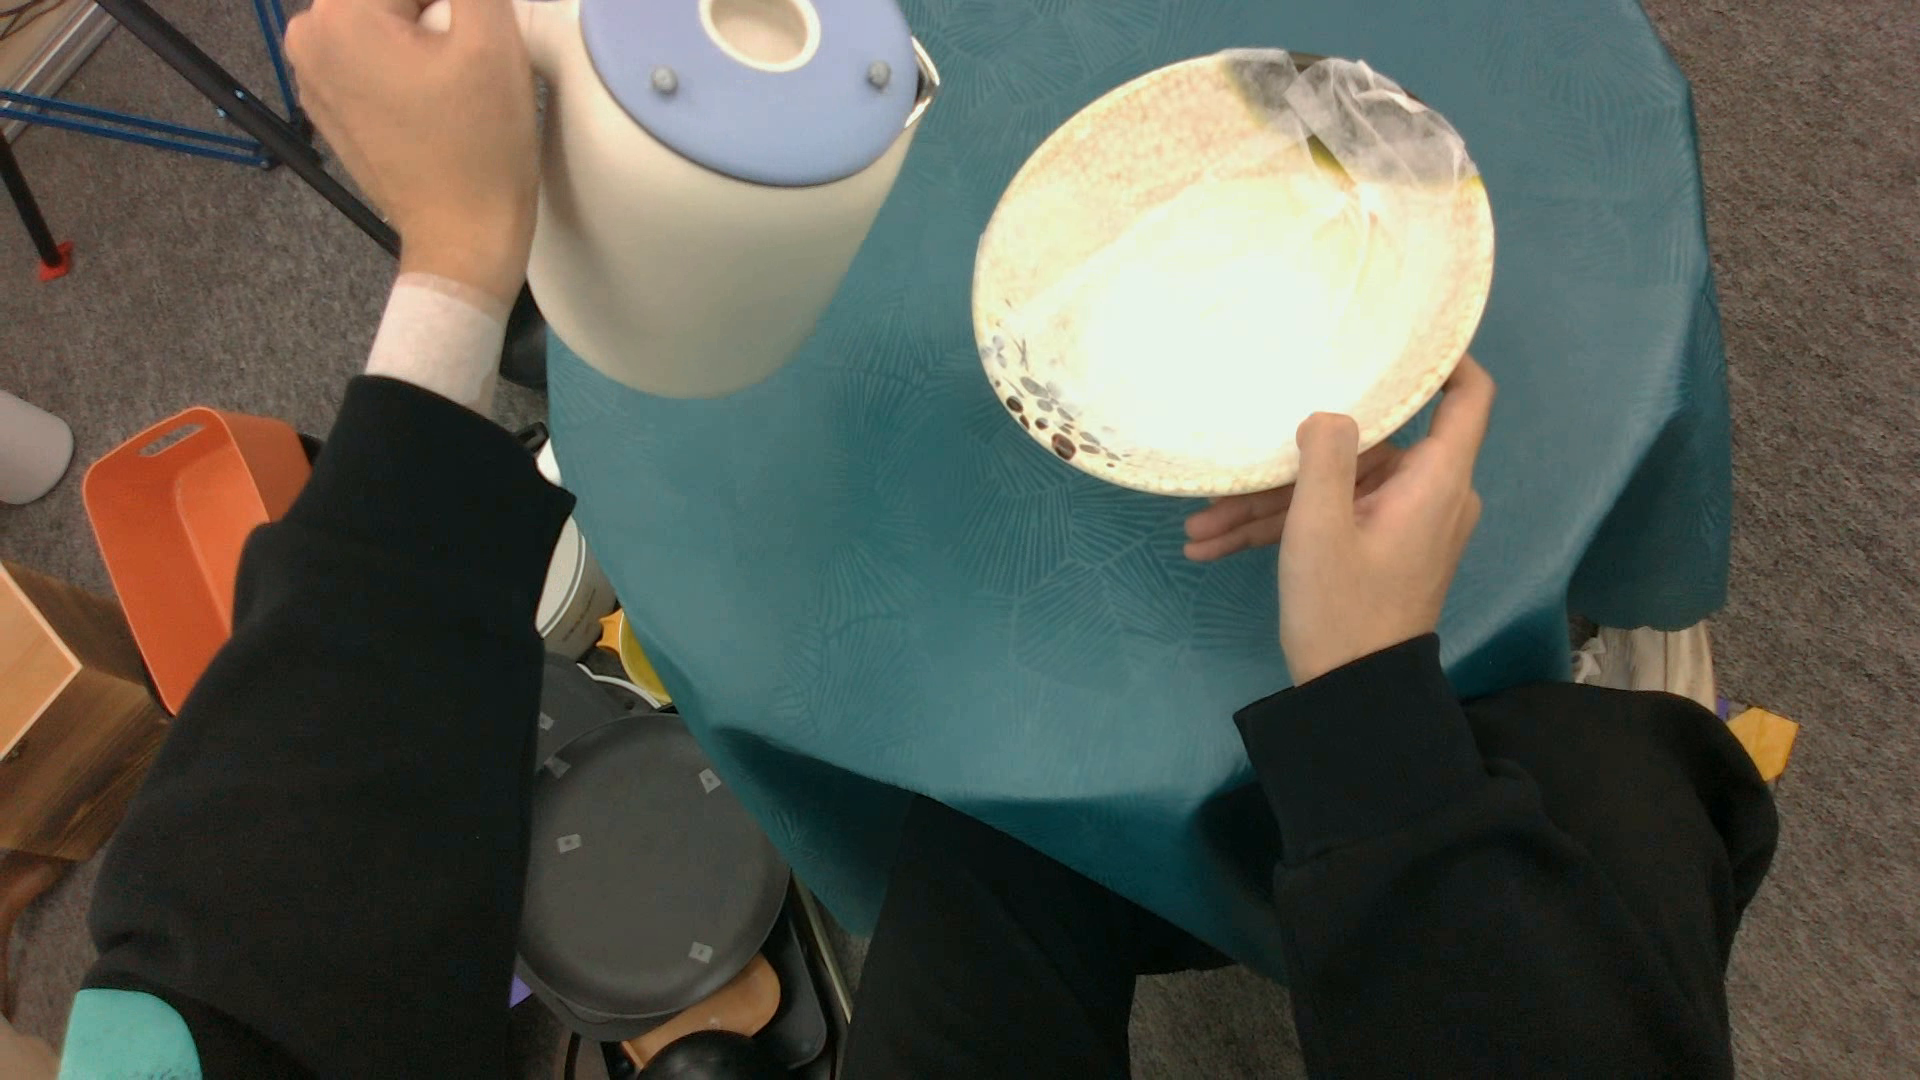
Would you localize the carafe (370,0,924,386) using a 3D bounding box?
[{"bbox_3d":[-0.129,-0.156,0.541,0.191,0.181,0.132,4,68,-20],"label":"carafe"}]

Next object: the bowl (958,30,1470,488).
[{"bbox_3d":[0.106,-0.106,0.582,0.203,0.078,0.204,-6,70,16],"label":"bowl"}]
